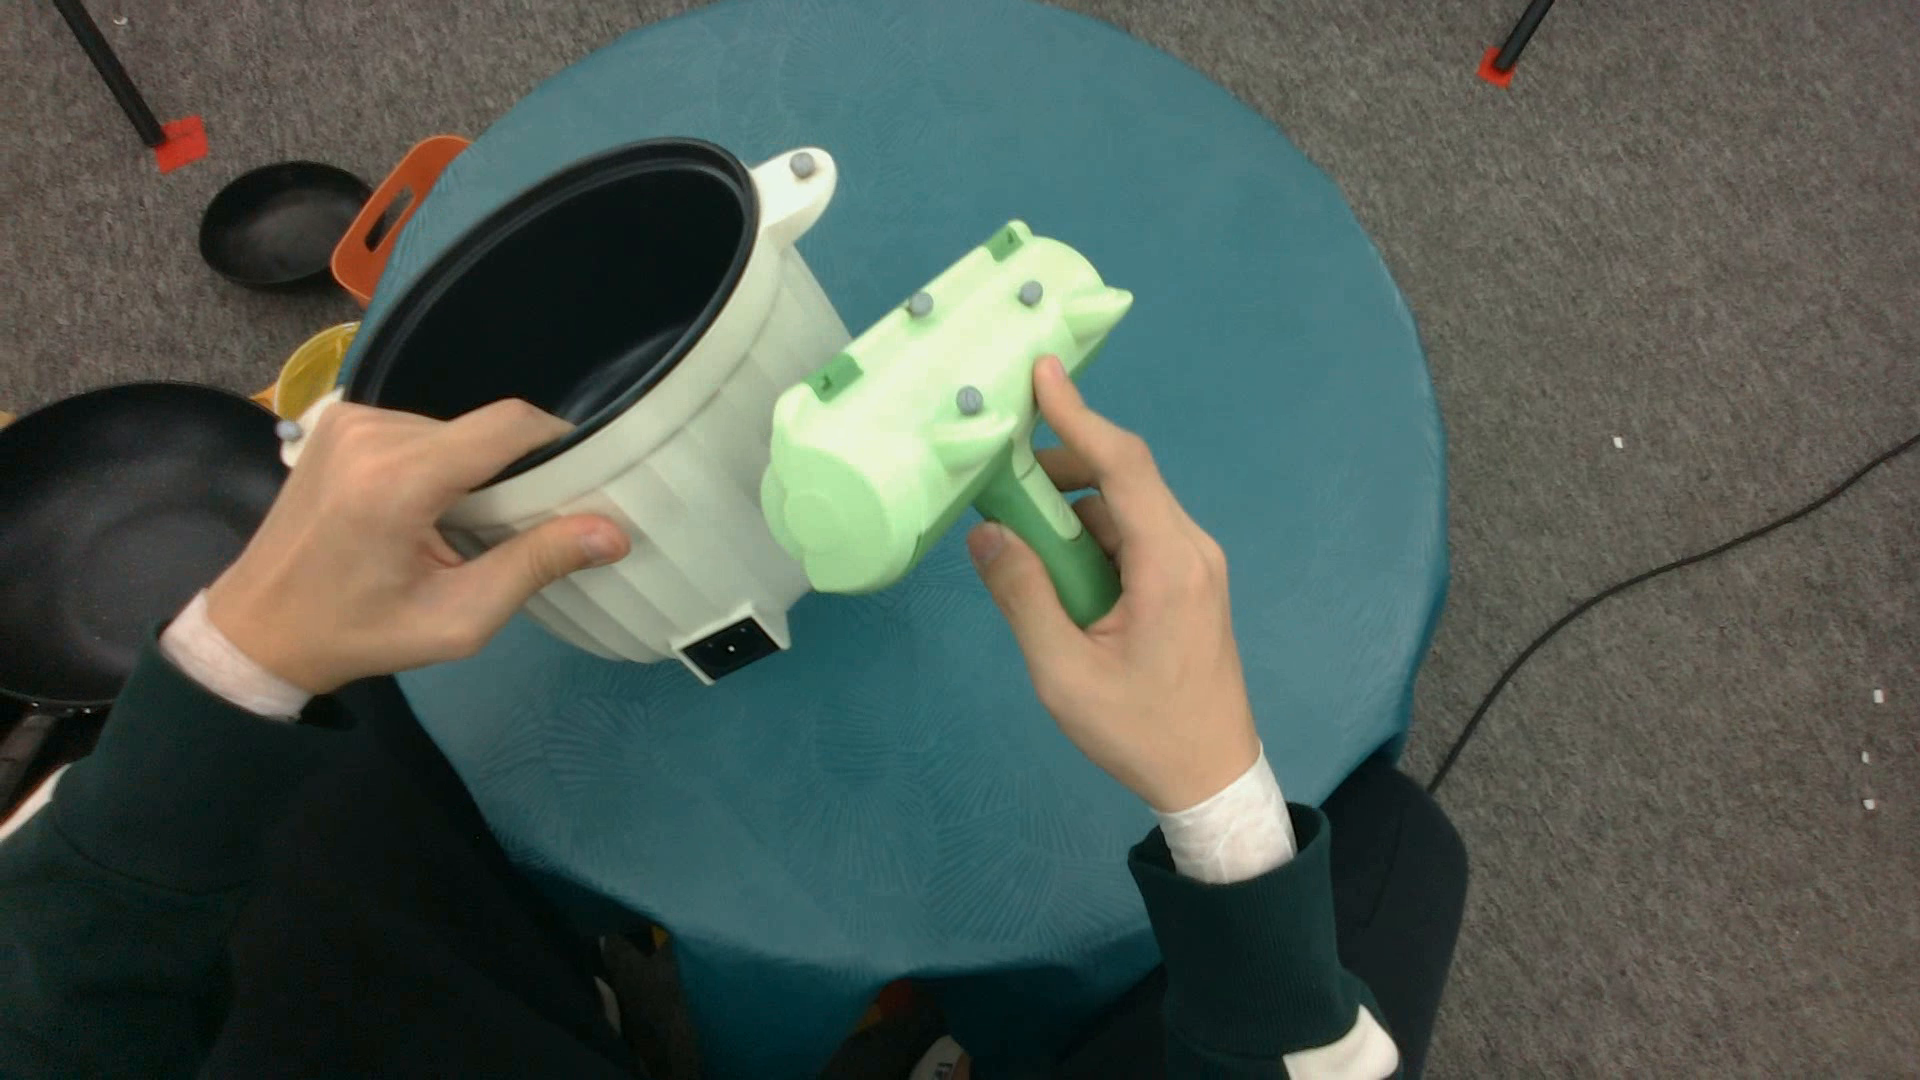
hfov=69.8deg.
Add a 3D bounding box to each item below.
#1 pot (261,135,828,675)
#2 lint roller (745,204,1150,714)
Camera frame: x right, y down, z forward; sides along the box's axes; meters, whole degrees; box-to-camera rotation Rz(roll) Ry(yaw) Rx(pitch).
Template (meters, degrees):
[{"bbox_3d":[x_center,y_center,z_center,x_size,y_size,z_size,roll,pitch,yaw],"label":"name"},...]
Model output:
[{"bbox_3d":[-0.139,-0.053,0.558,0.240,0.142,0.191,-26,48,7],"label":"pot"},{"bbox_3d":[0.030,-0.020,0.487,0.183,0.082,0.199,50,35,-9],"label":"lint roller"}]
